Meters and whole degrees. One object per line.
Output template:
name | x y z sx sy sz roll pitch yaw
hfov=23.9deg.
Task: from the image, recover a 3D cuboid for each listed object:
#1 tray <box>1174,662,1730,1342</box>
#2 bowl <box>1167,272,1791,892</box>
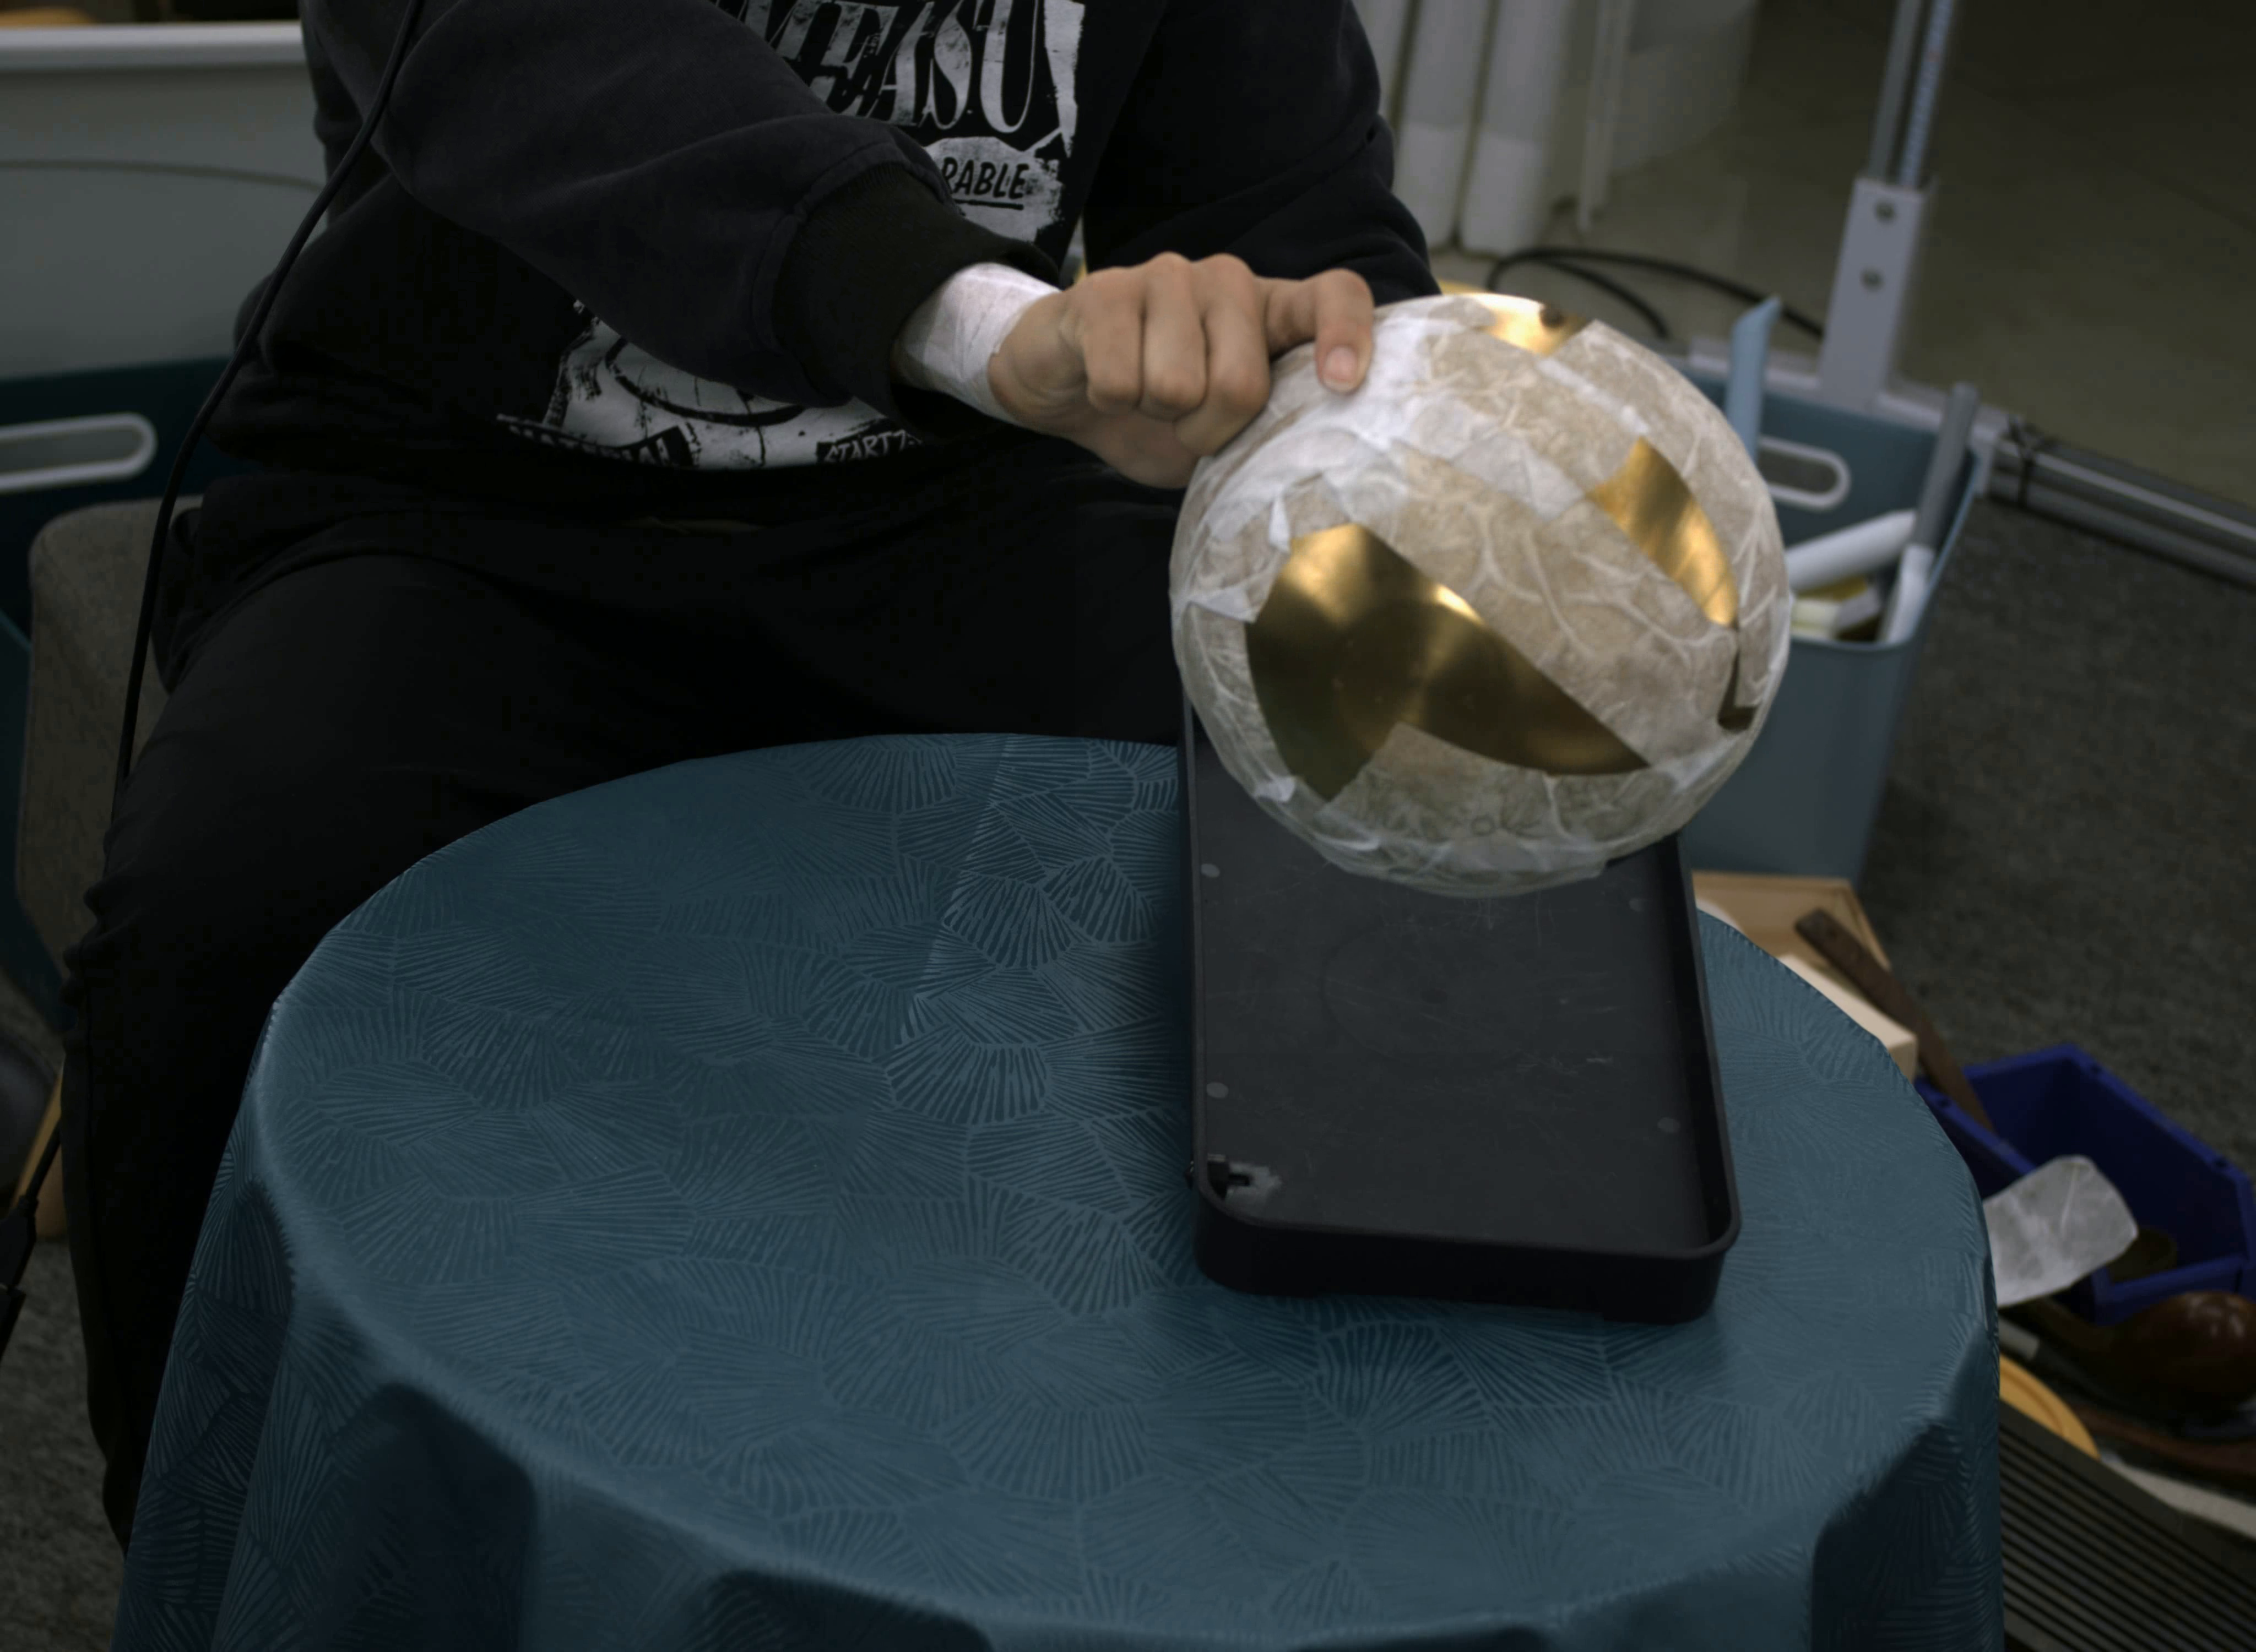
tray | 0.109 0.052 1.867 0.183 0.037 0.320 7 39 -3
bowl | 0.099 -0.060 1.679 0.215 0.214 0.095 13 27 12
